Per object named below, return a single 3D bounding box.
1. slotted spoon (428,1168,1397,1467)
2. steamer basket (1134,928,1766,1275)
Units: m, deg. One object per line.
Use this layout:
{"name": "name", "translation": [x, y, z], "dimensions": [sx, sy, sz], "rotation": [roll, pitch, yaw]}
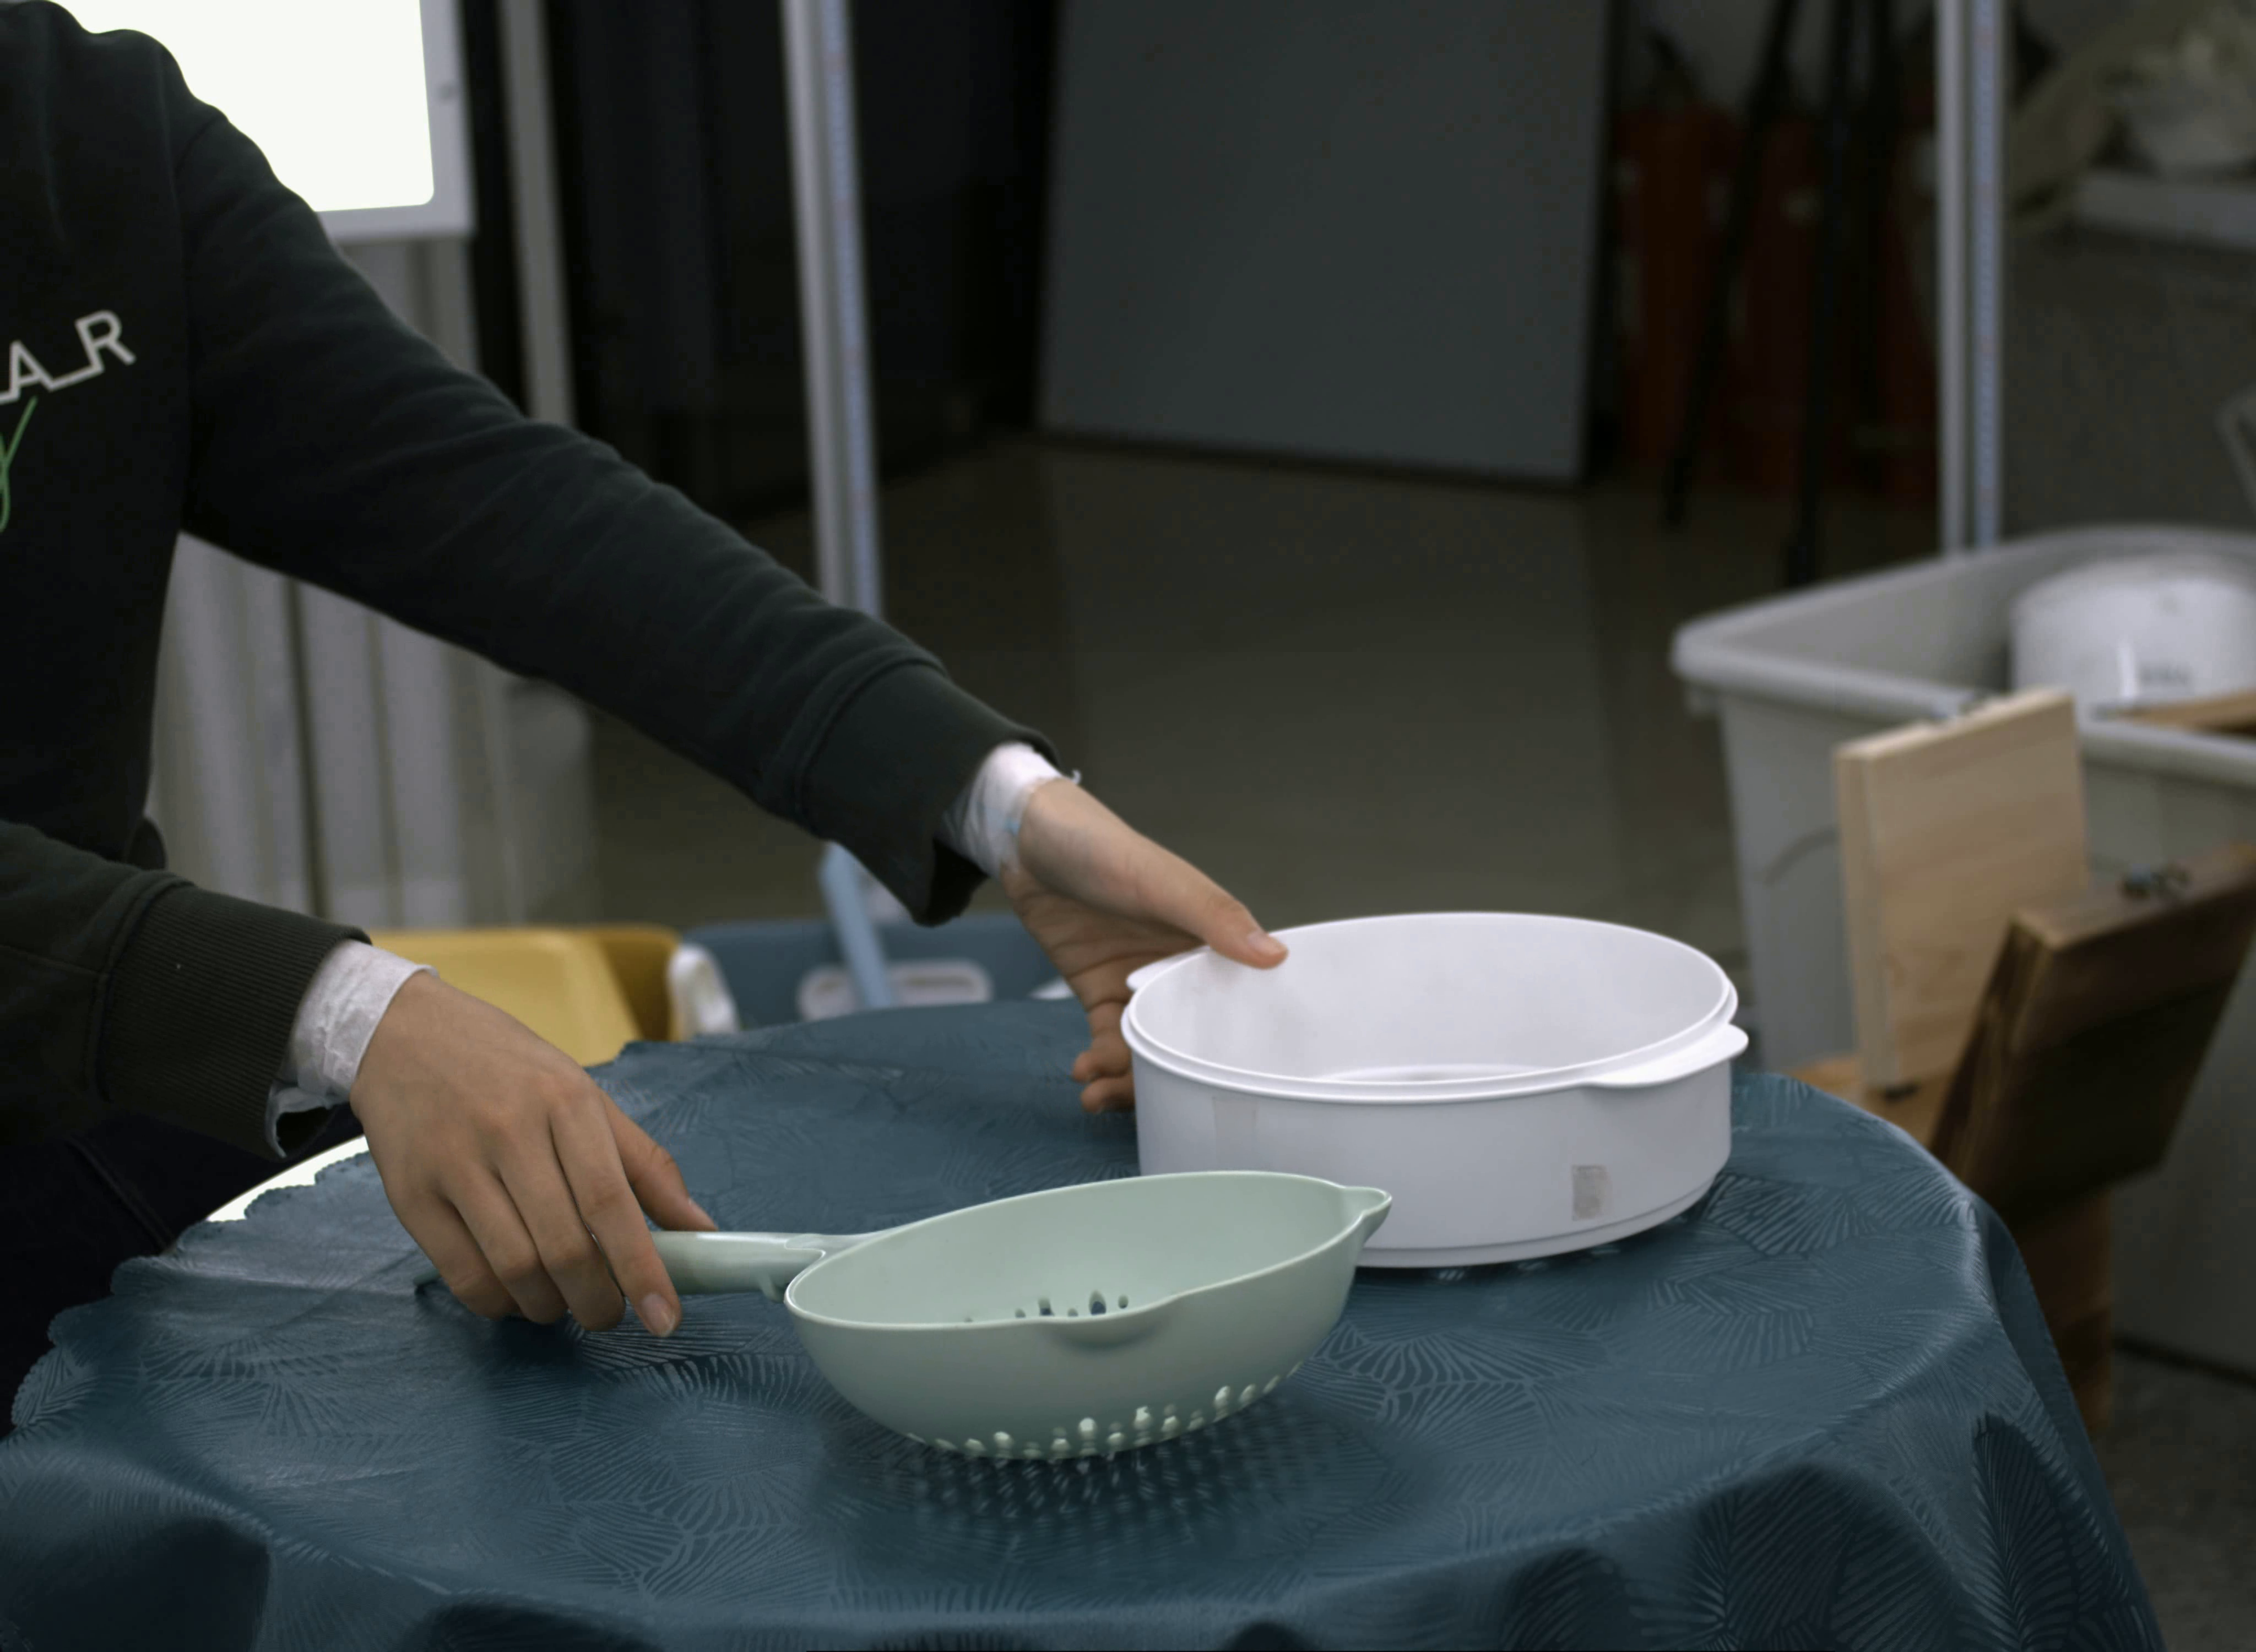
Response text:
{"name": "slotted spoon", "translation": [-0.085, 0.136, 1.604], "dimensions": [0.361, 0.076, 0.166], "rotation": [8, 16, 40]}
{"name": "steamer basket", "translation": [0.102, 0.089, 1.740], "dimensions": [0.232, 0.070, 0.198], "rotation": [8, 17, 42]}
